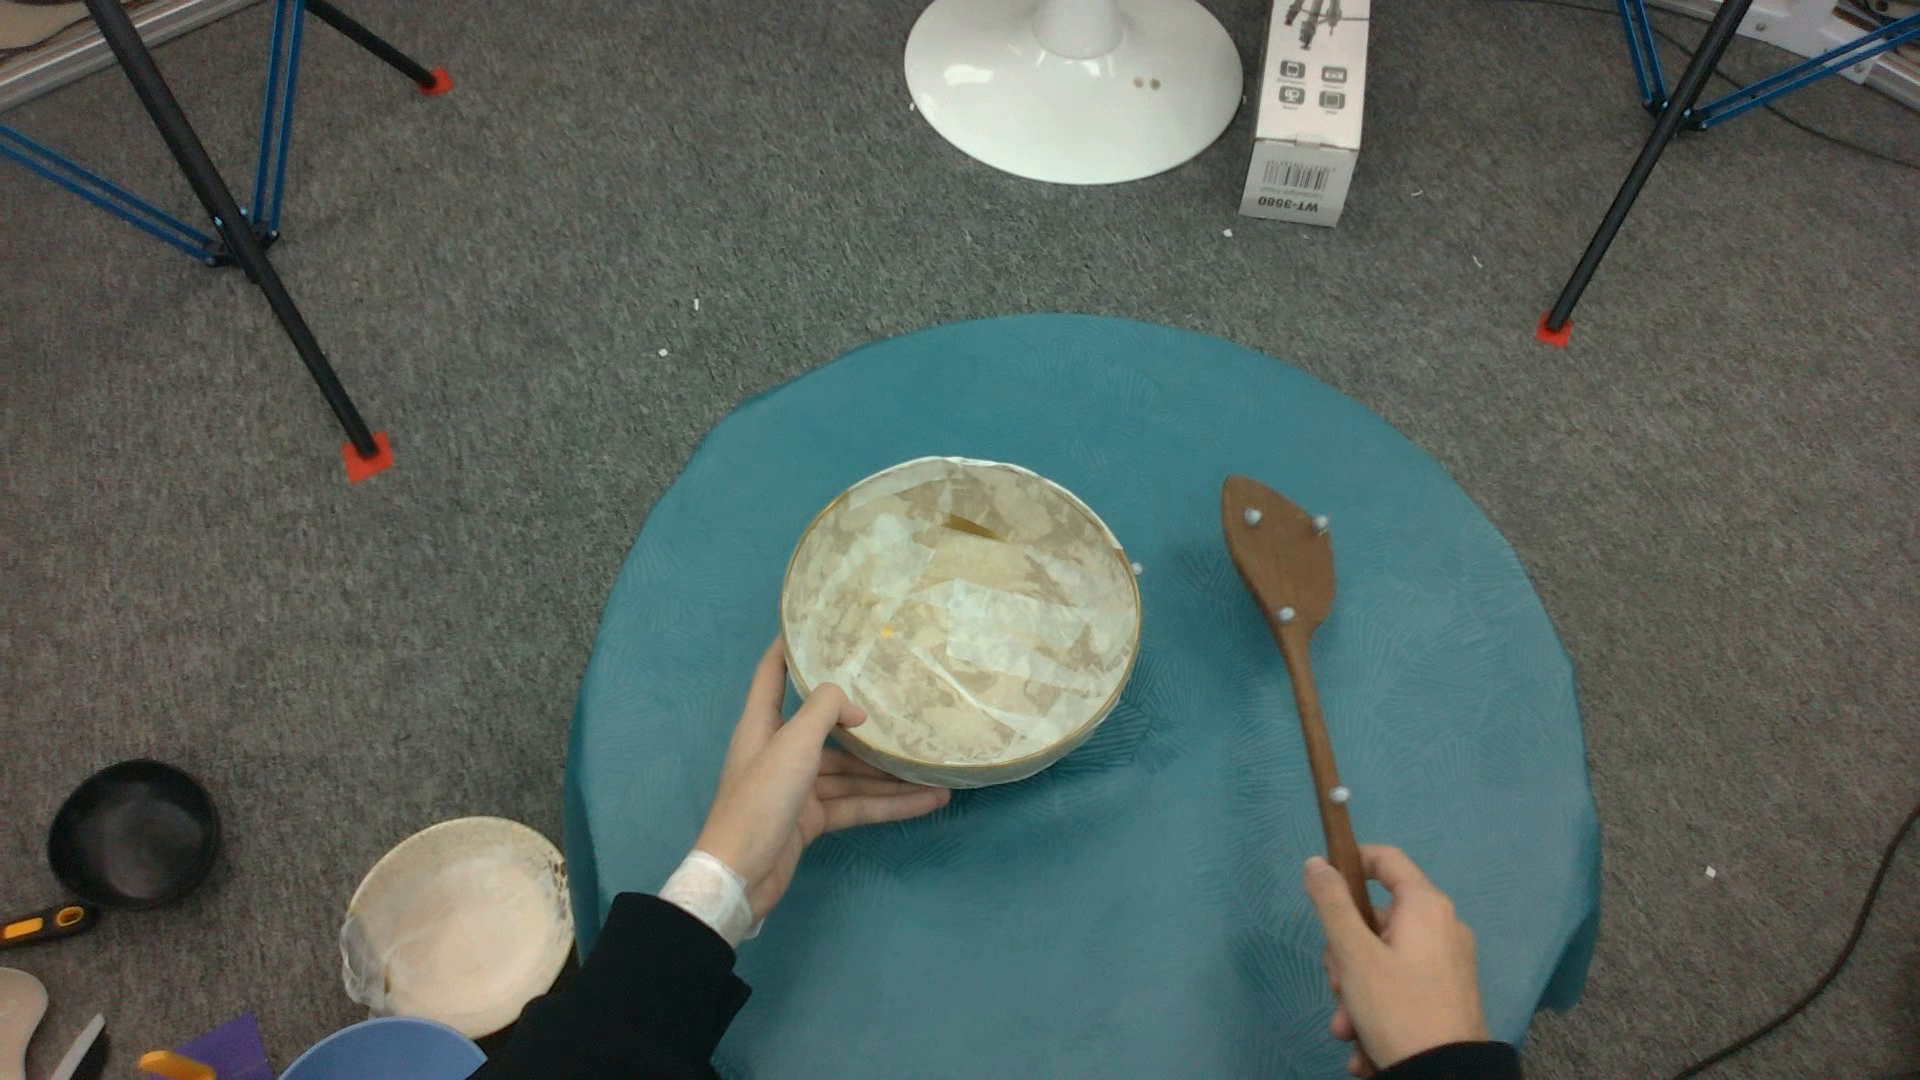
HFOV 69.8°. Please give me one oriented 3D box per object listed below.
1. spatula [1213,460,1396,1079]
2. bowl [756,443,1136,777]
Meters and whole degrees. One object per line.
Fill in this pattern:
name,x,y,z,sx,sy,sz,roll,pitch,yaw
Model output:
spatula,0.186,0.114,0.727,0.096,0.016,0.387,26,45,-30
bowl,-0.013,0.053,0.787,0.215,0.094,0.215,3,56,-5
